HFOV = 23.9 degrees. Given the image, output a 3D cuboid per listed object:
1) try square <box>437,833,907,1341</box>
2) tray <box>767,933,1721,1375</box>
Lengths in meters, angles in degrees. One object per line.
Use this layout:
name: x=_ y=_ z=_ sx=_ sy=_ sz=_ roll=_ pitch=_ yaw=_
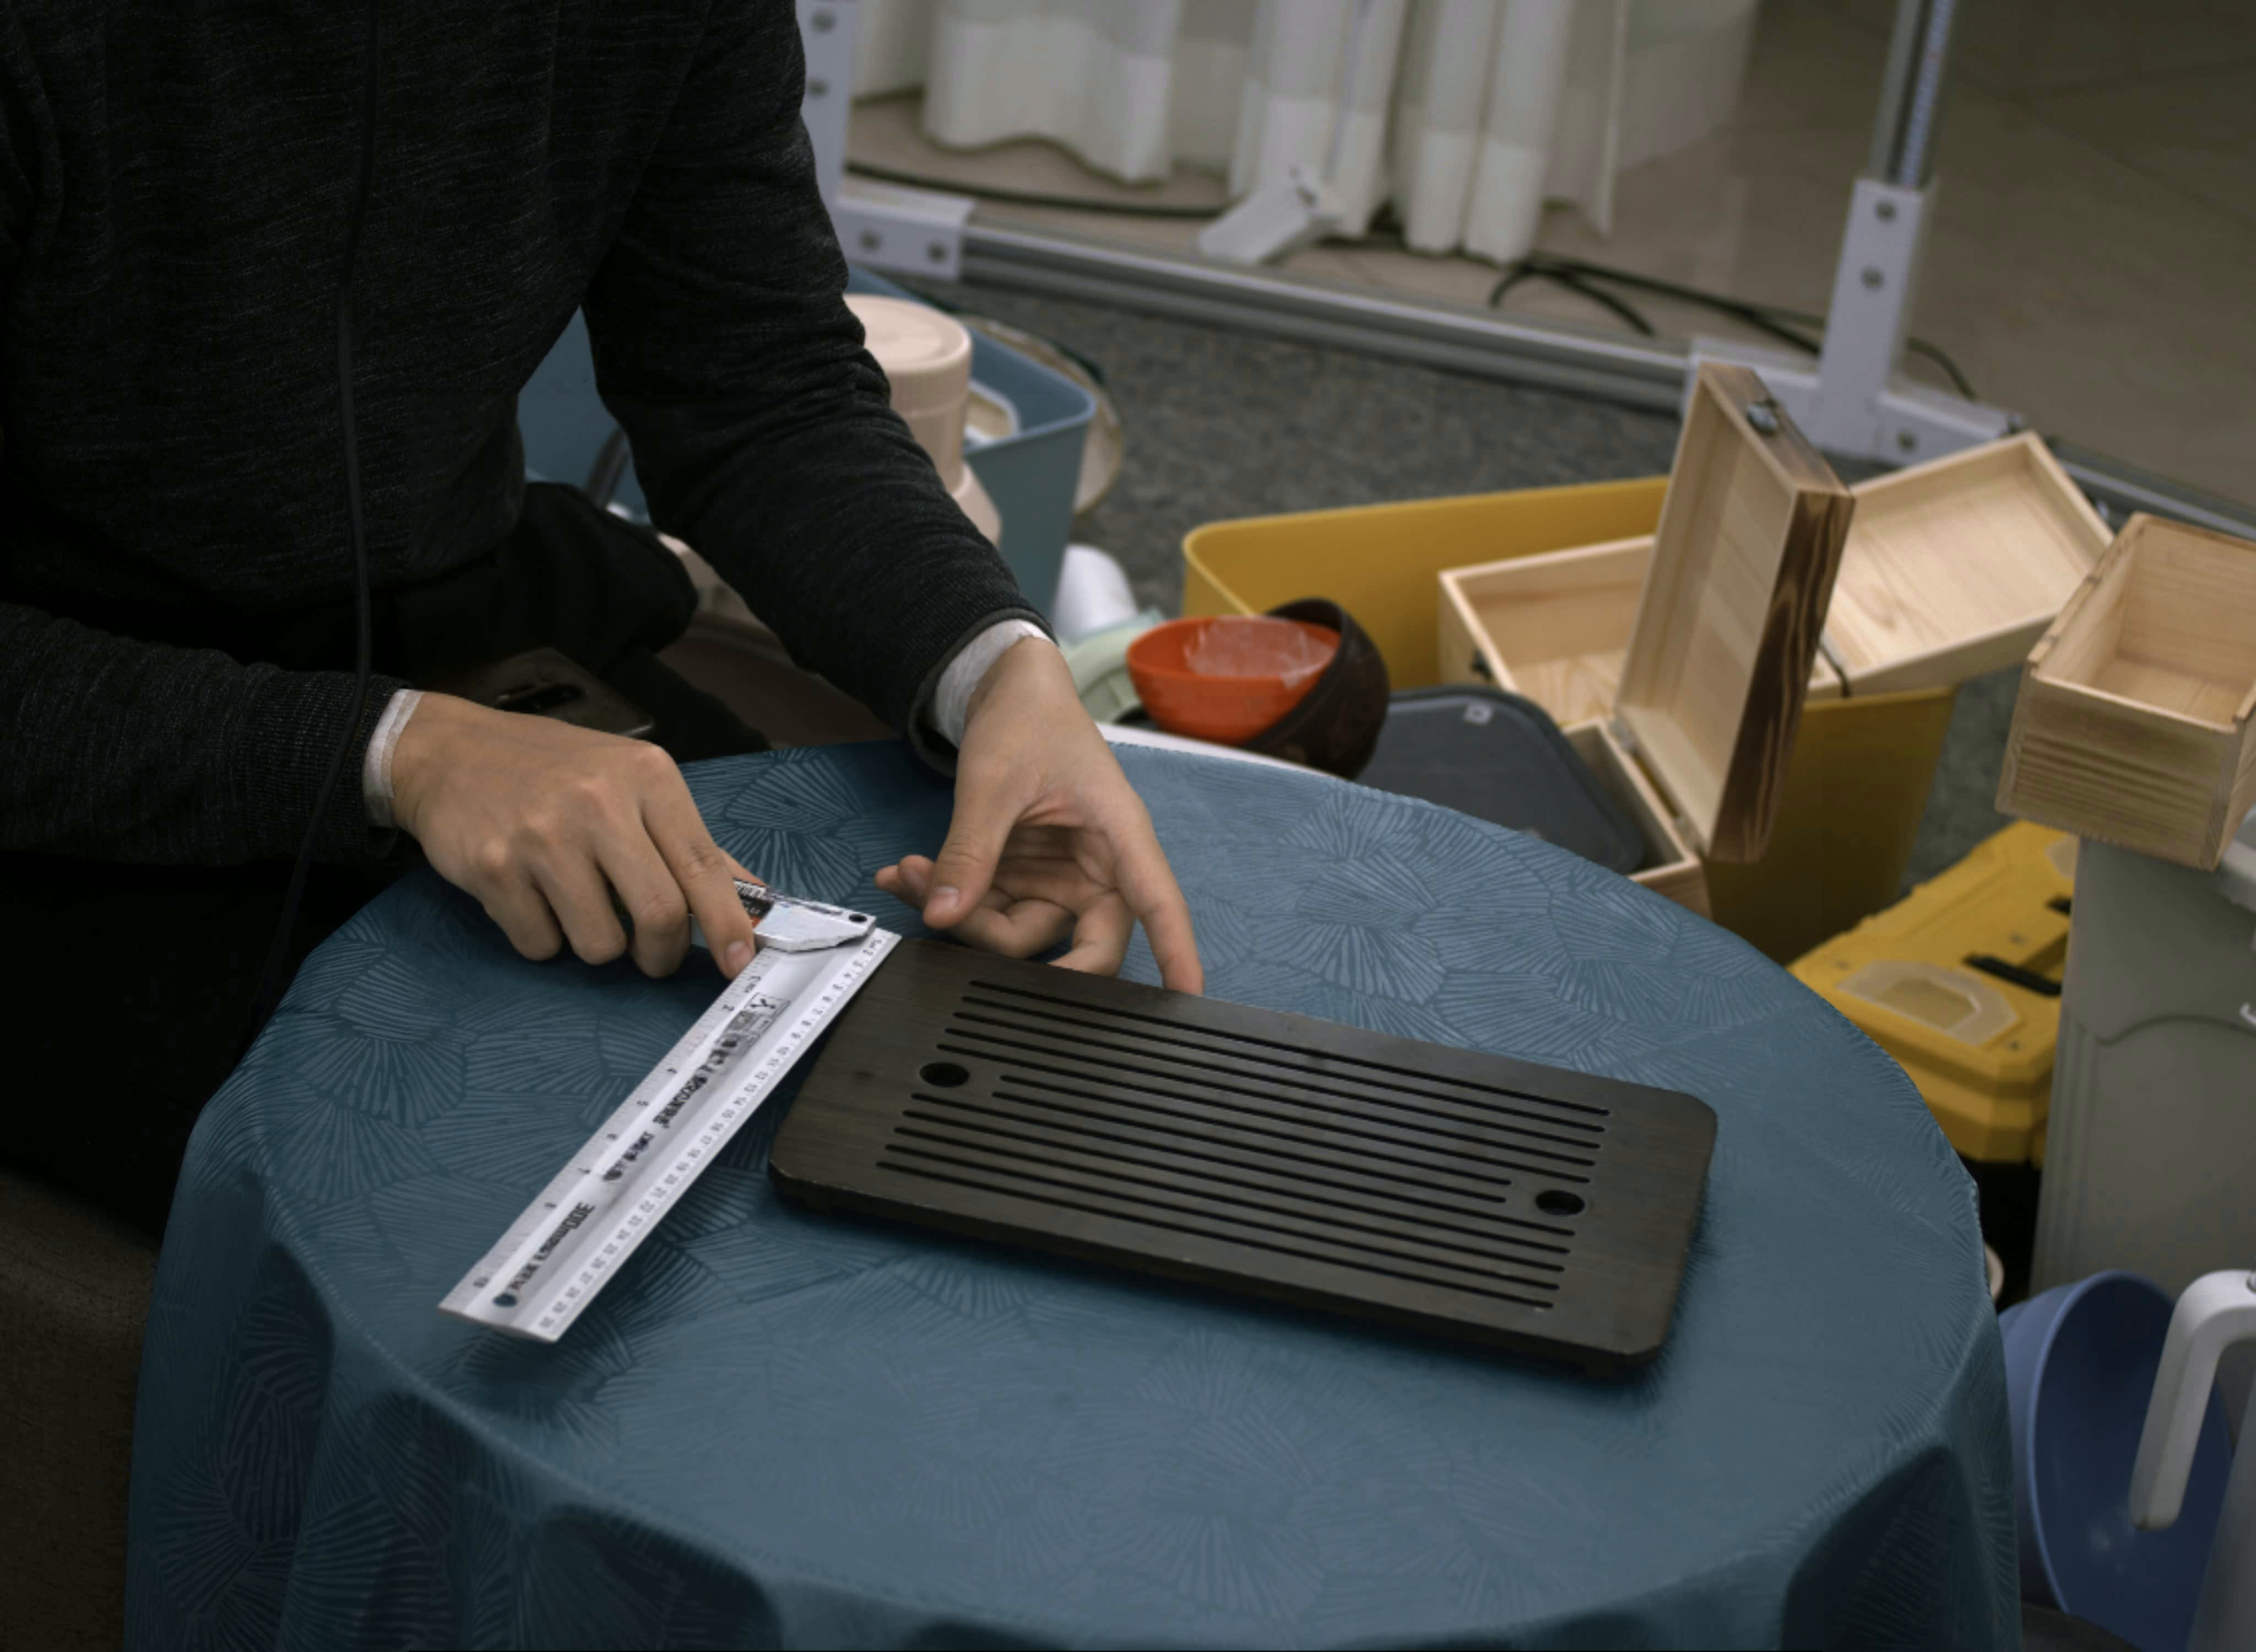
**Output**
try square: x=-0.198 y=0.082 z=1.789 sx=0.152 sy=0.016 sz=0.313 roll=12 pitch=26 yaw=15
tray: x=0.043 y=0.110 z=1.813 sx=0.306 sy=0.018 sz=0.170 roll=11 pitch=29 yaw=9
